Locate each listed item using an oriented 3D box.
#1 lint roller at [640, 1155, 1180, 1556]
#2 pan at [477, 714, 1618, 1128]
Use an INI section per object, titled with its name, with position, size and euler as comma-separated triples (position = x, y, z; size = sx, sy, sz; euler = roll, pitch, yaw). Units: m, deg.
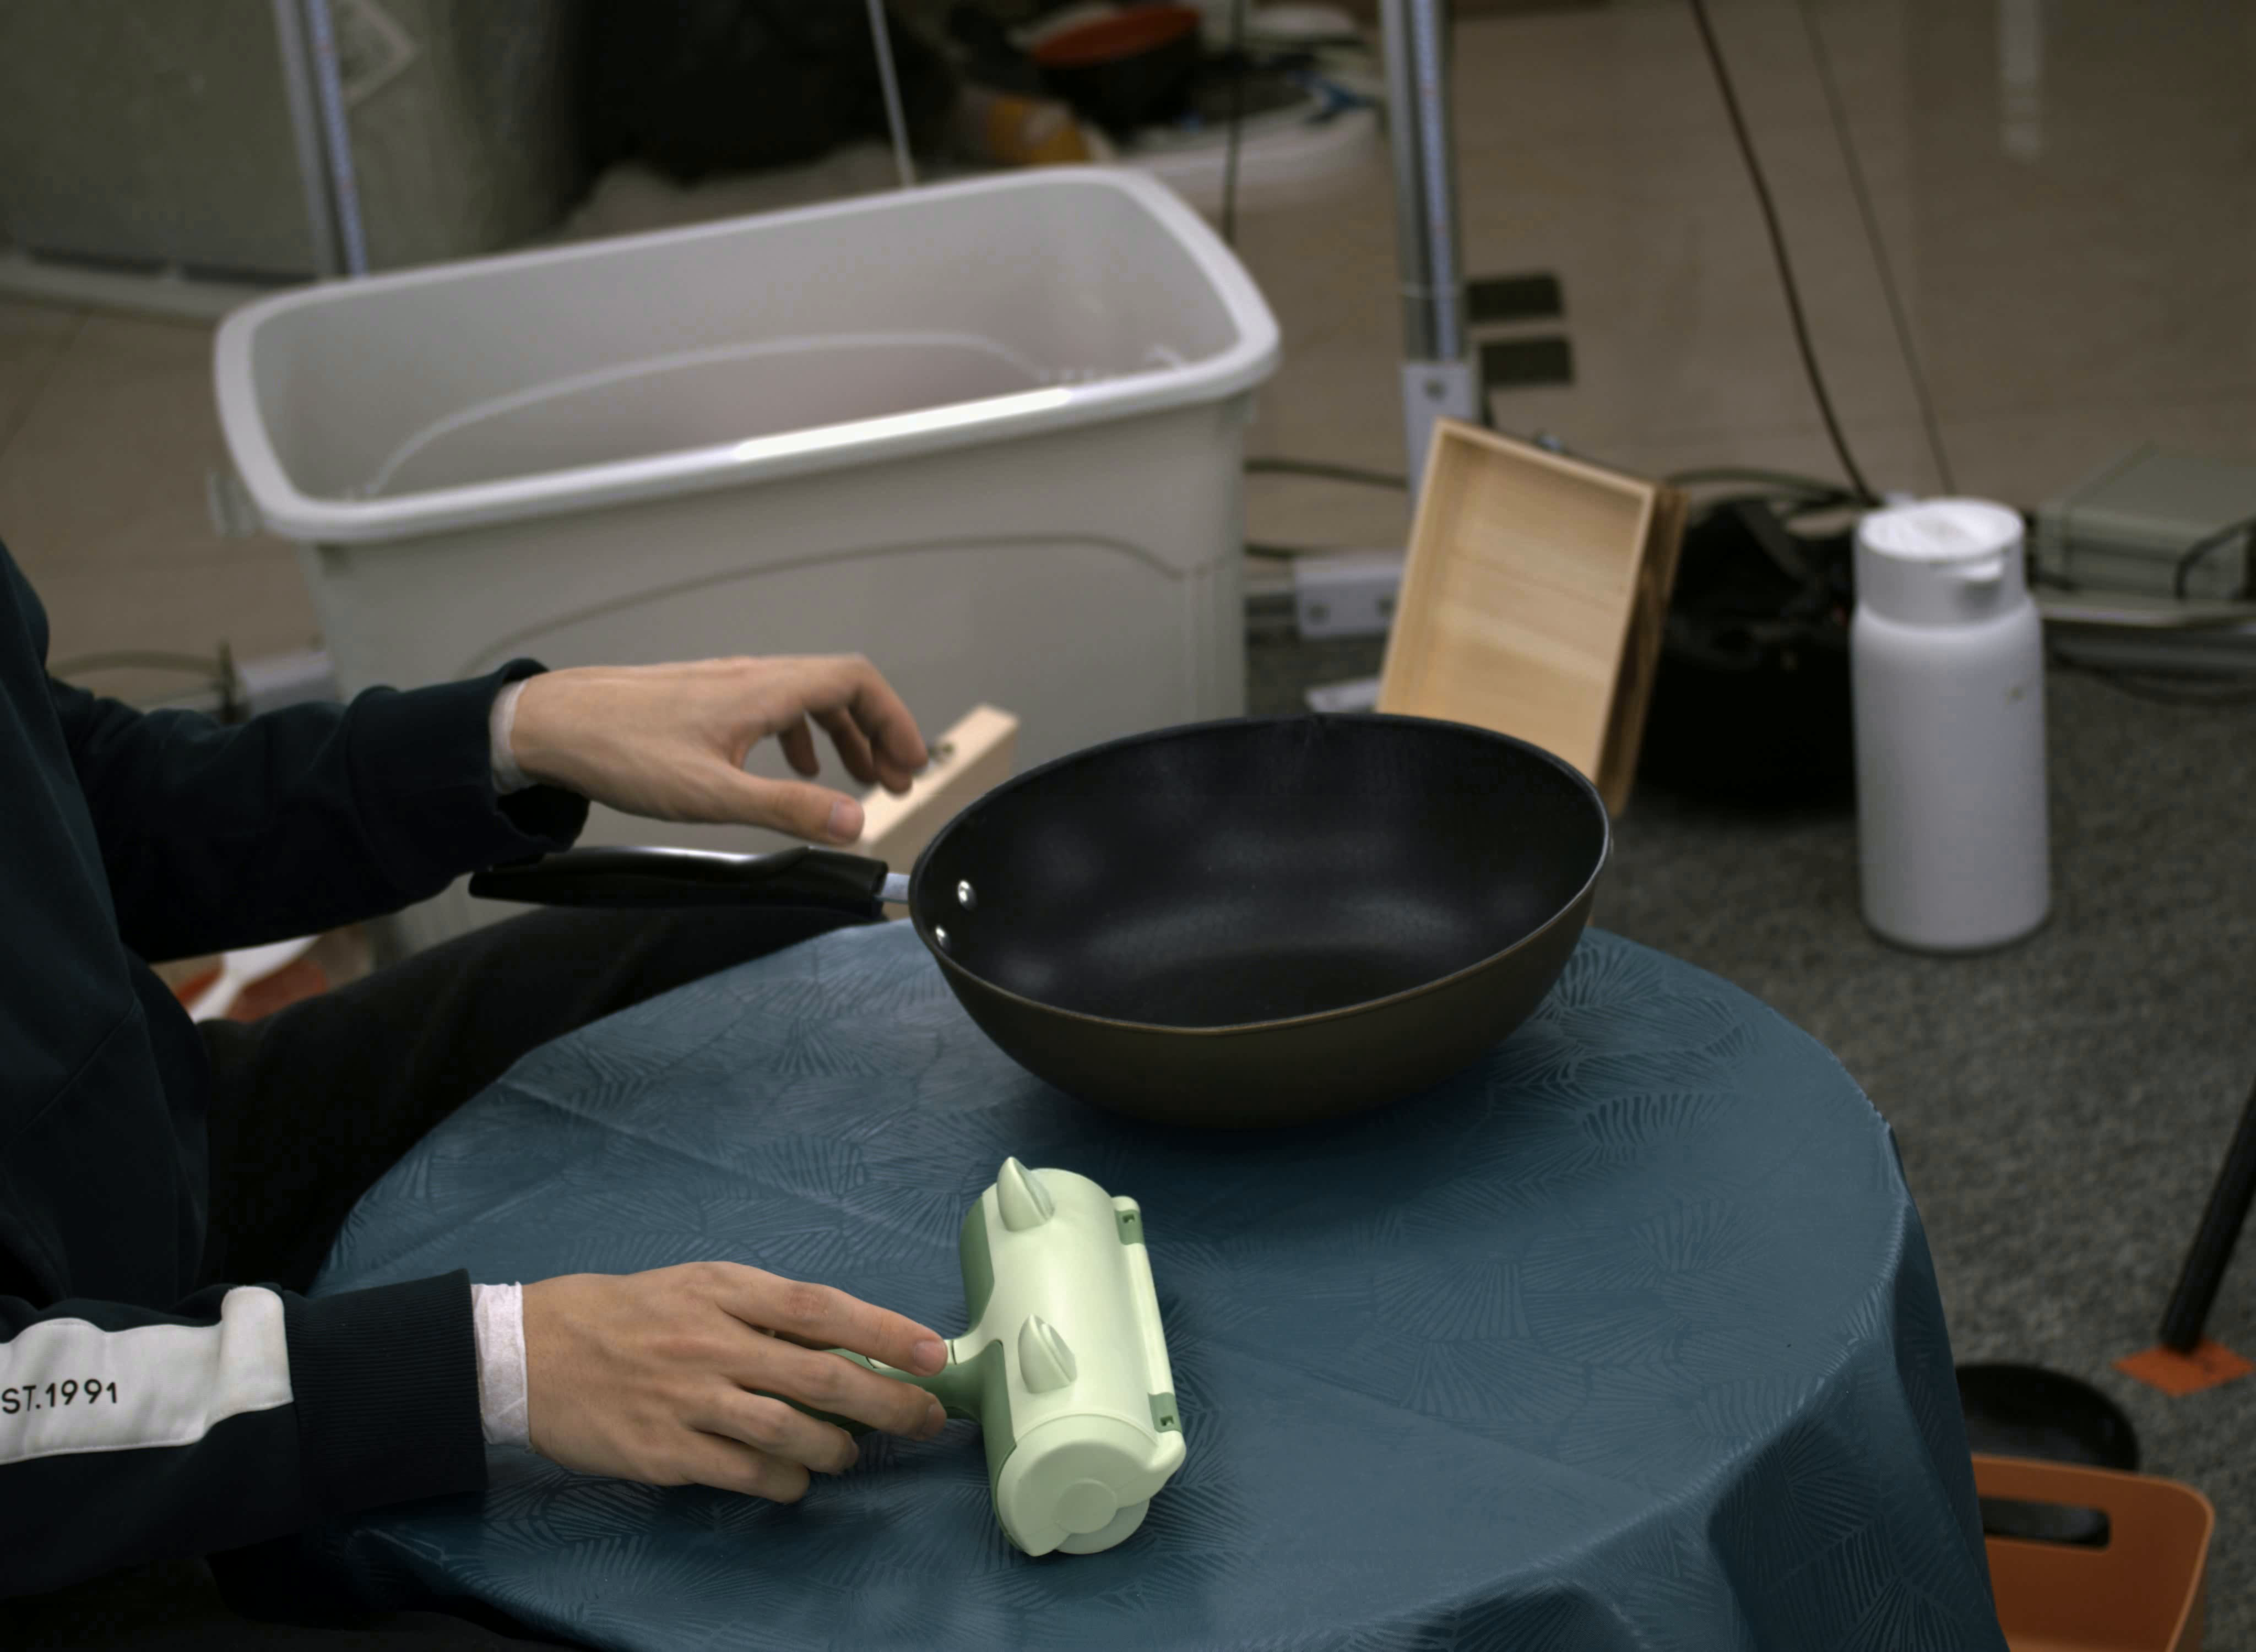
[lint roller]
position = -0.080, 0.181, 1.983
size = 0.183, 0.083, 0.195
euler = -2, 25, -4
[pan]
position = -0.033, 0.049, 2.245
size = 0.462, 0.088, 0.284
euler = -2, 25, 12
